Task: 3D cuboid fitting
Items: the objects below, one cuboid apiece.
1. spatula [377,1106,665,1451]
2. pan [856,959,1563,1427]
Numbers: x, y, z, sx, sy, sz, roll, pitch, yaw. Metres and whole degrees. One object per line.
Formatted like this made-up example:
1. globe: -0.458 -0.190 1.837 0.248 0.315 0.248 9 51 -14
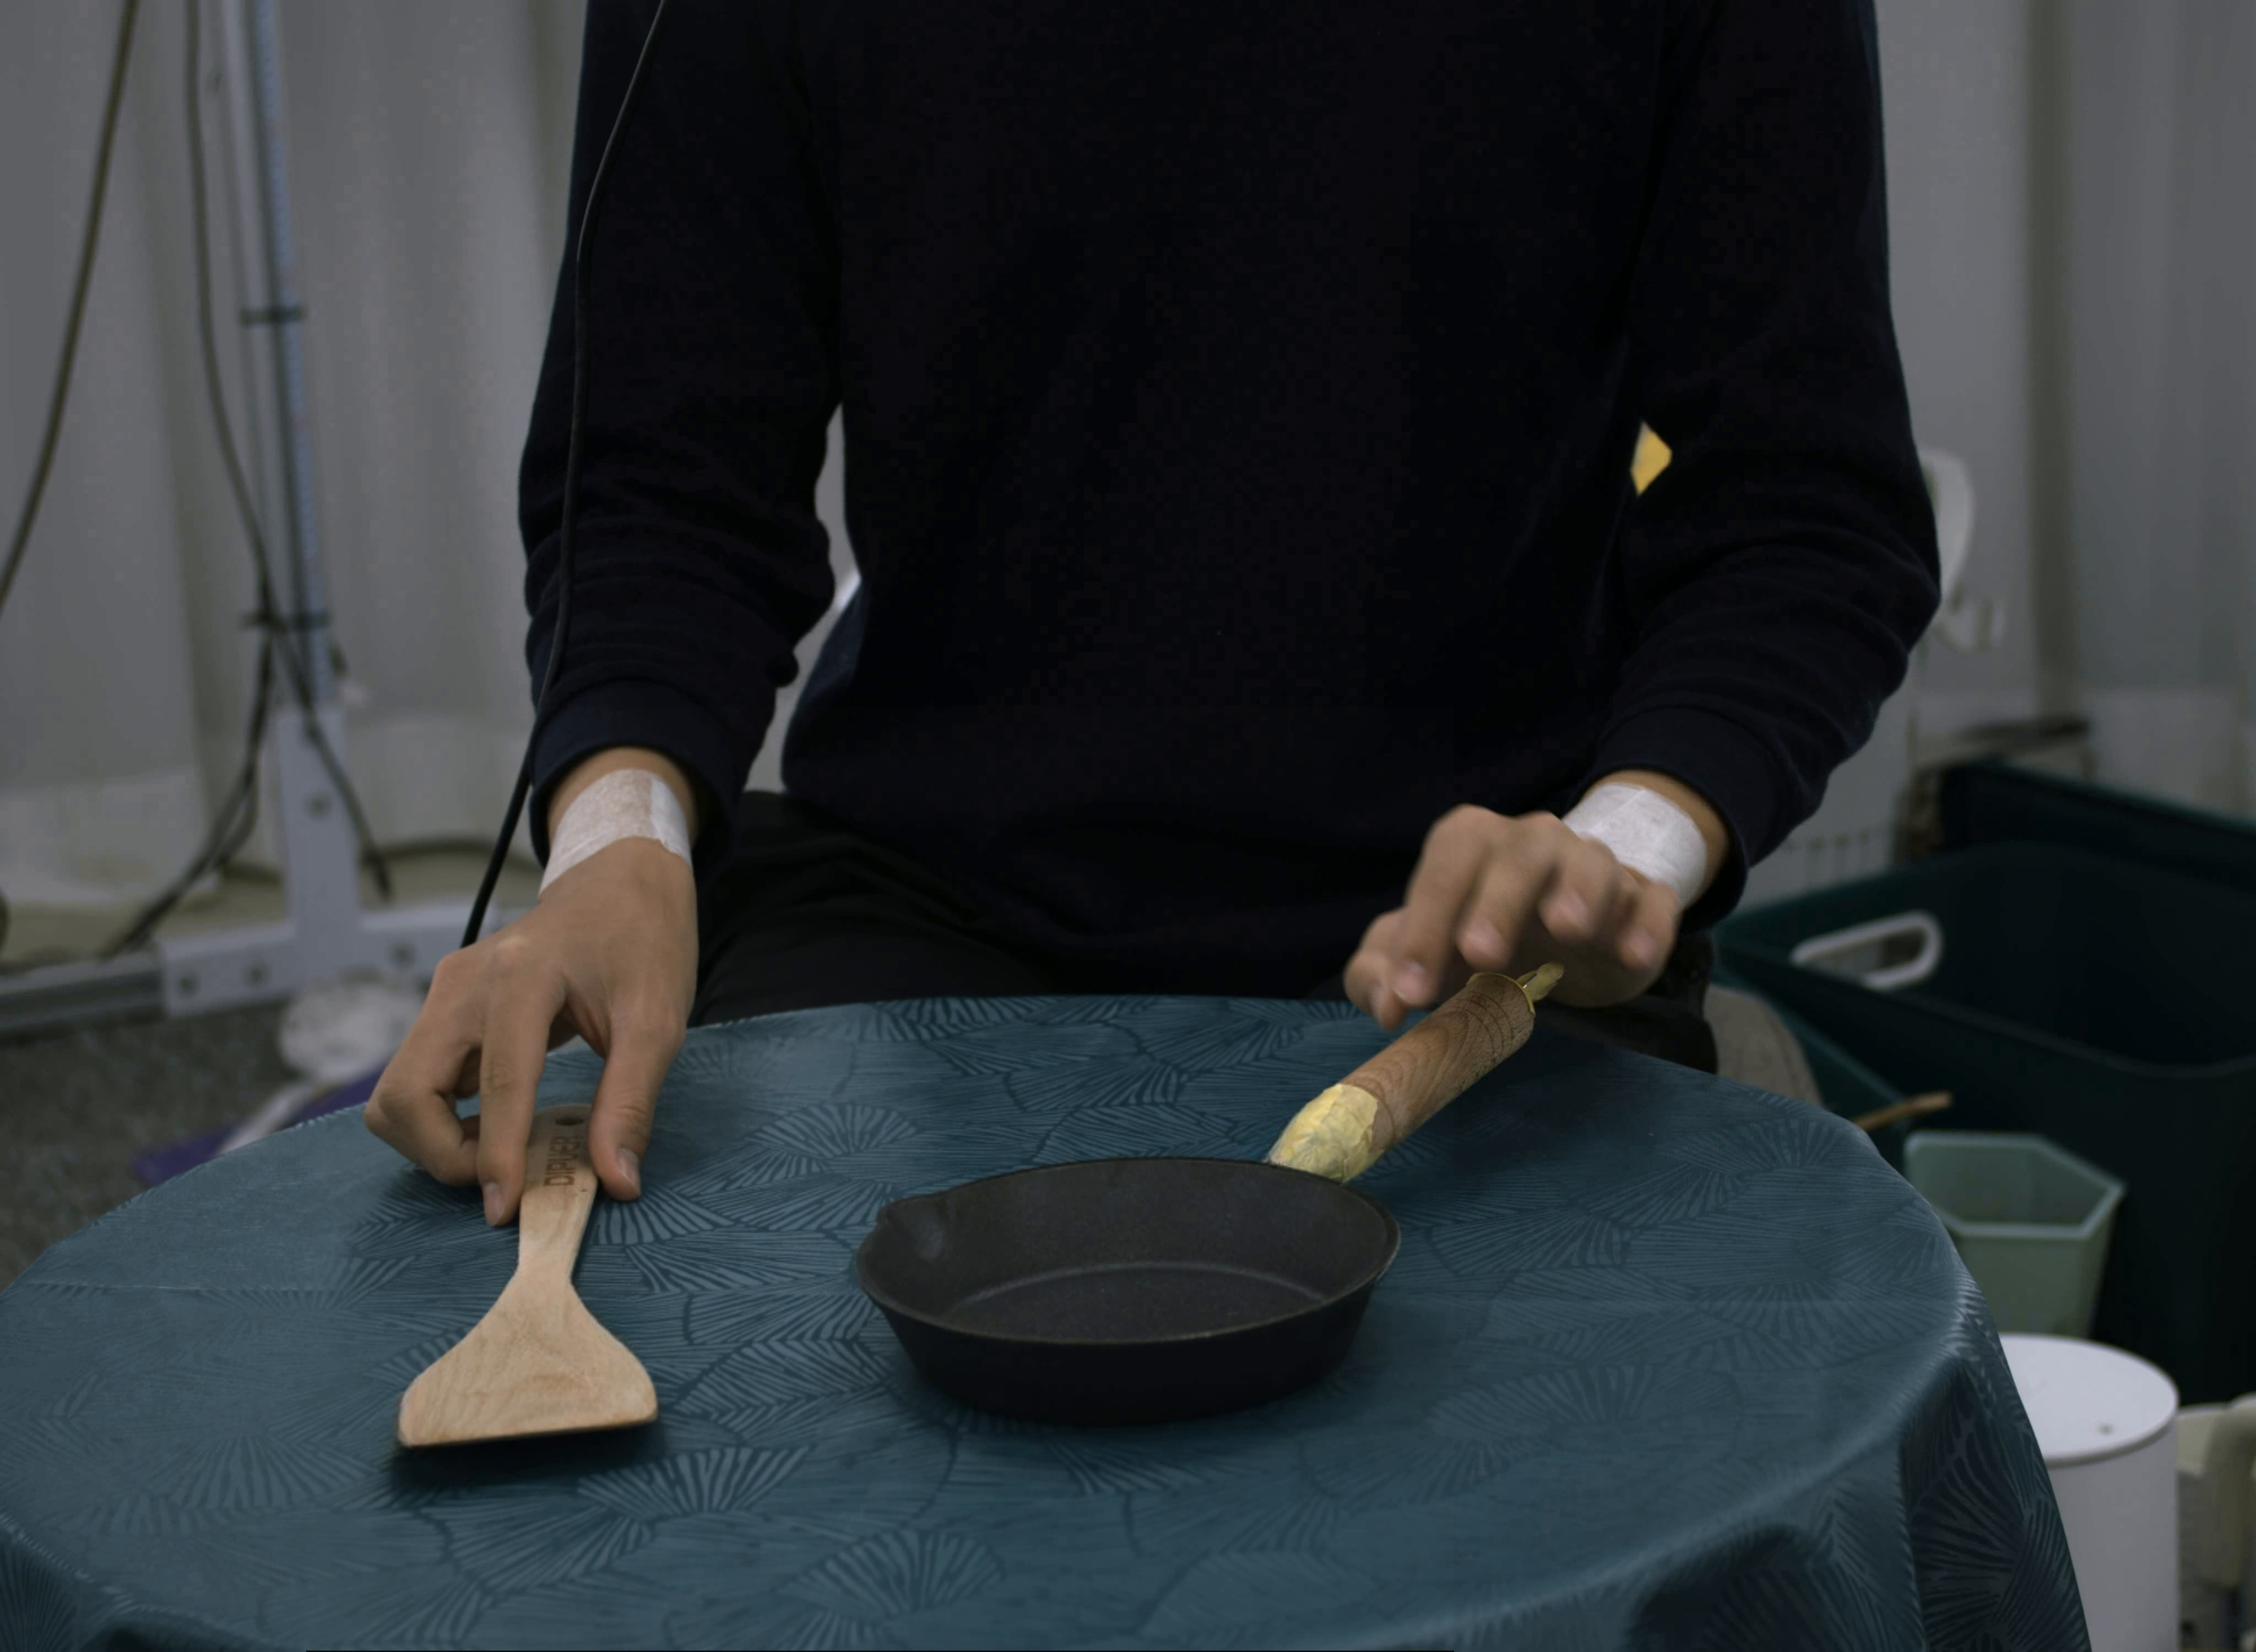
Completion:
1. spatula: -0.175 0.133 1.652 0.079 0.016 0.330 -3 15 -2
2. pan: 0.048 0.107 1.639 0.169 0.049 0.324 7 20 34
